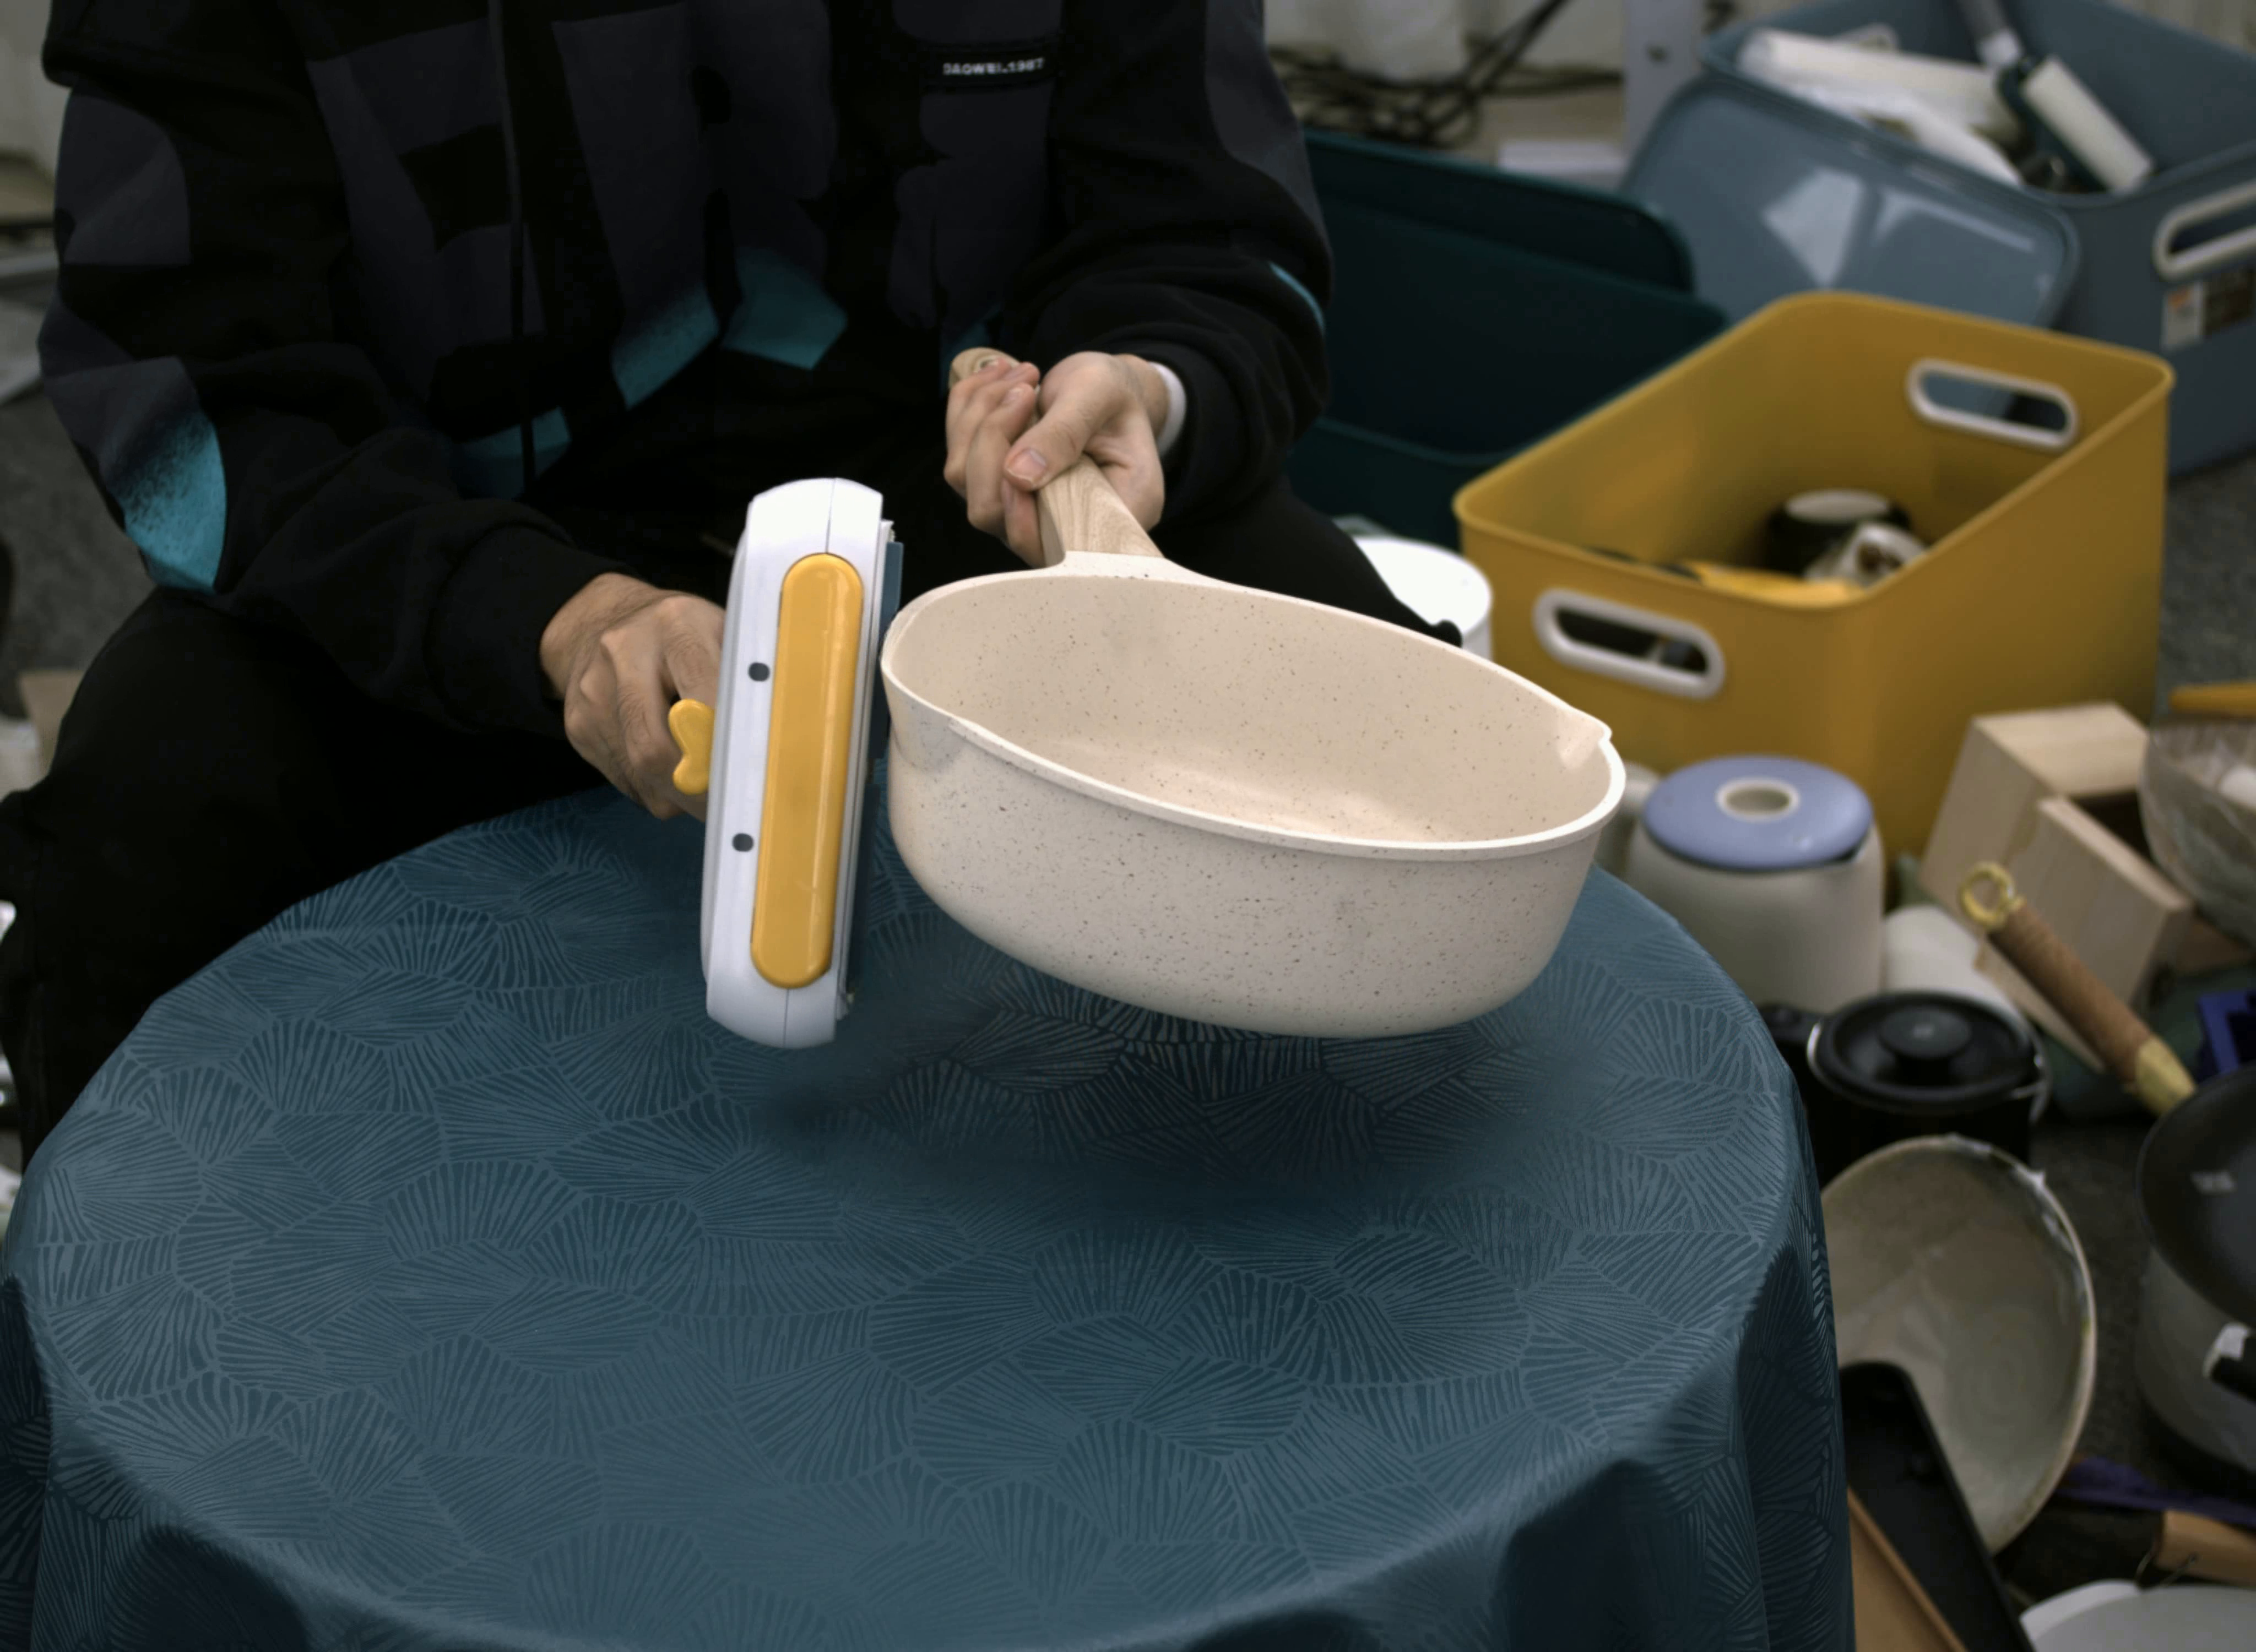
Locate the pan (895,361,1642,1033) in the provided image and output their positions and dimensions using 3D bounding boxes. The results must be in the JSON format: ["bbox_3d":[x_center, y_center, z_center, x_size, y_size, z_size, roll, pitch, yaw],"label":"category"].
[{"bbox_3d":[0.011,-0.047,1.965,0.263,0.101,0.438,1,22,-23],"label":"pan"}]

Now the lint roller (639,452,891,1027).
[{"bbox_3d":[-0.129,-0.031,1.948,0.074,0.193,0.192,0,1,-12],"label":"lint roller"}]
